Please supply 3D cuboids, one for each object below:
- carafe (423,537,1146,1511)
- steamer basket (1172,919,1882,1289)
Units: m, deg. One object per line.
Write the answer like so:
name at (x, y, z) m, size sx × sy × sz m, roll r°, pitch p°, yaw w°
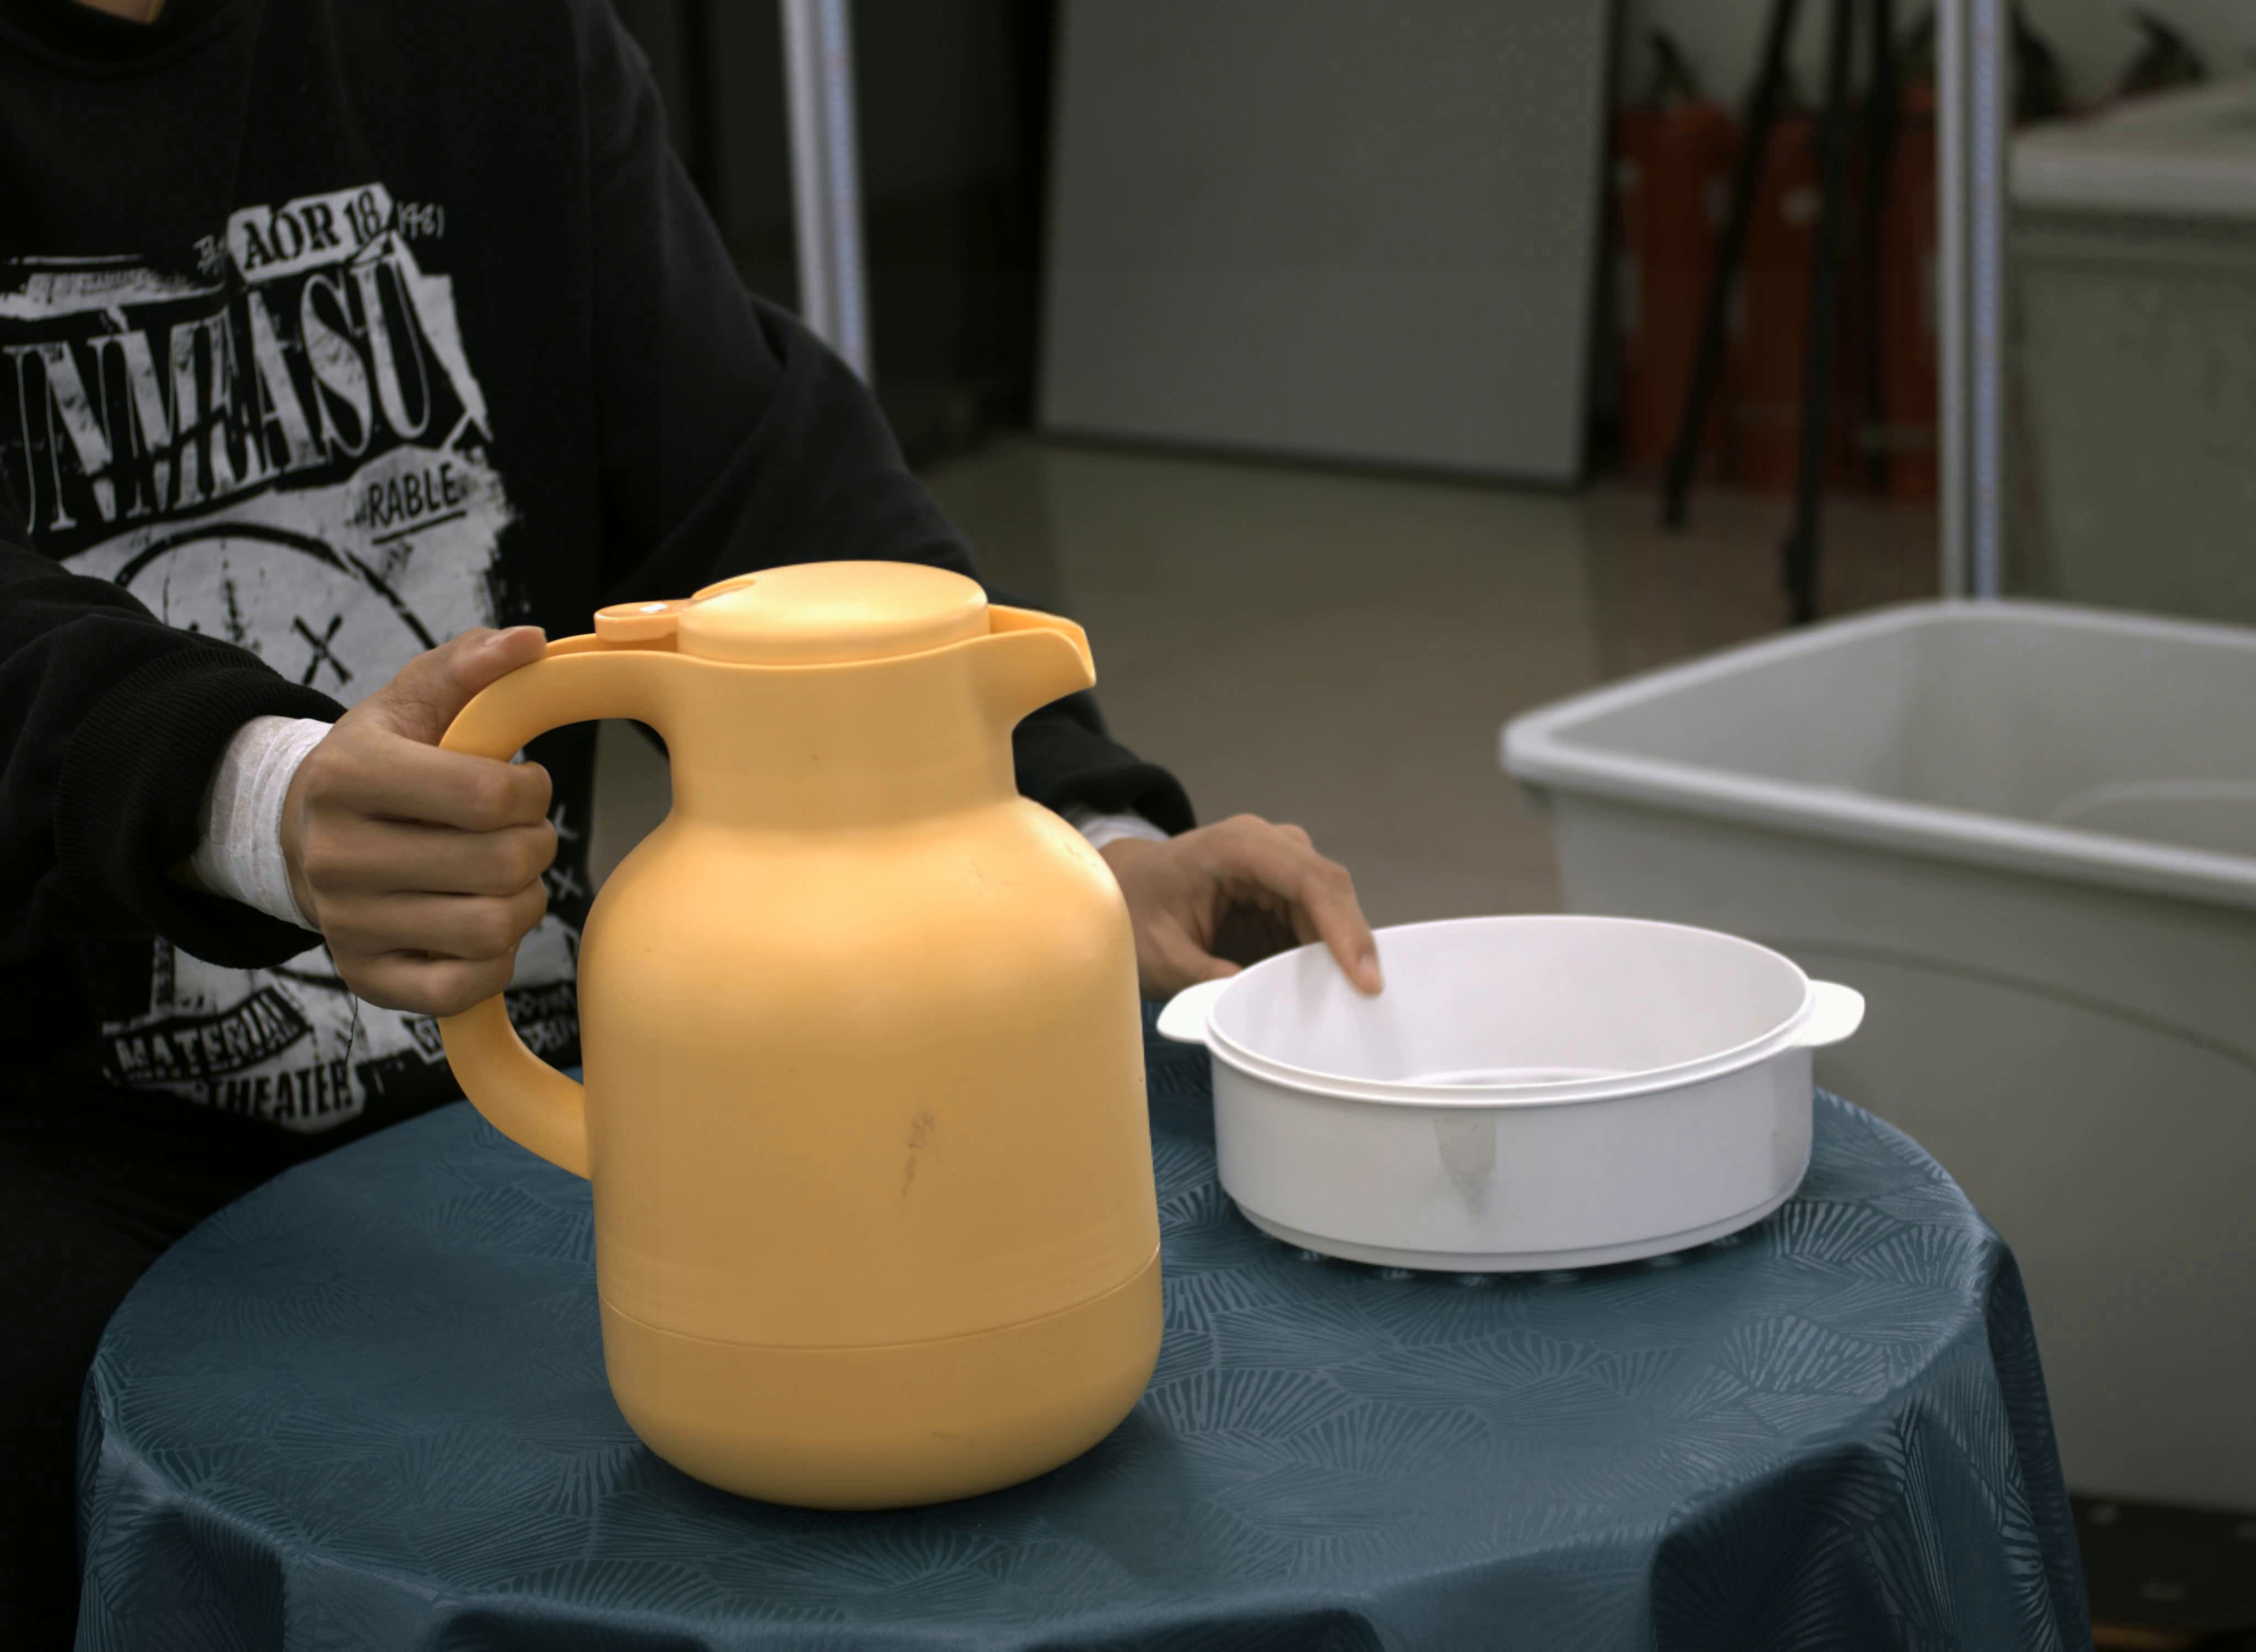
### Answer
carafe at (-0.097, 0.052, 1.534) m, size 0.200 × 0.263 × 0.163 m, roll 0°, pitch 11°, yaw 8°
steamer basket at (0.129, 0.089, 1.736) m, size 0.229 × 0.070 × 0.200 m, roll 0°, pitch 15°, yaw 14°
